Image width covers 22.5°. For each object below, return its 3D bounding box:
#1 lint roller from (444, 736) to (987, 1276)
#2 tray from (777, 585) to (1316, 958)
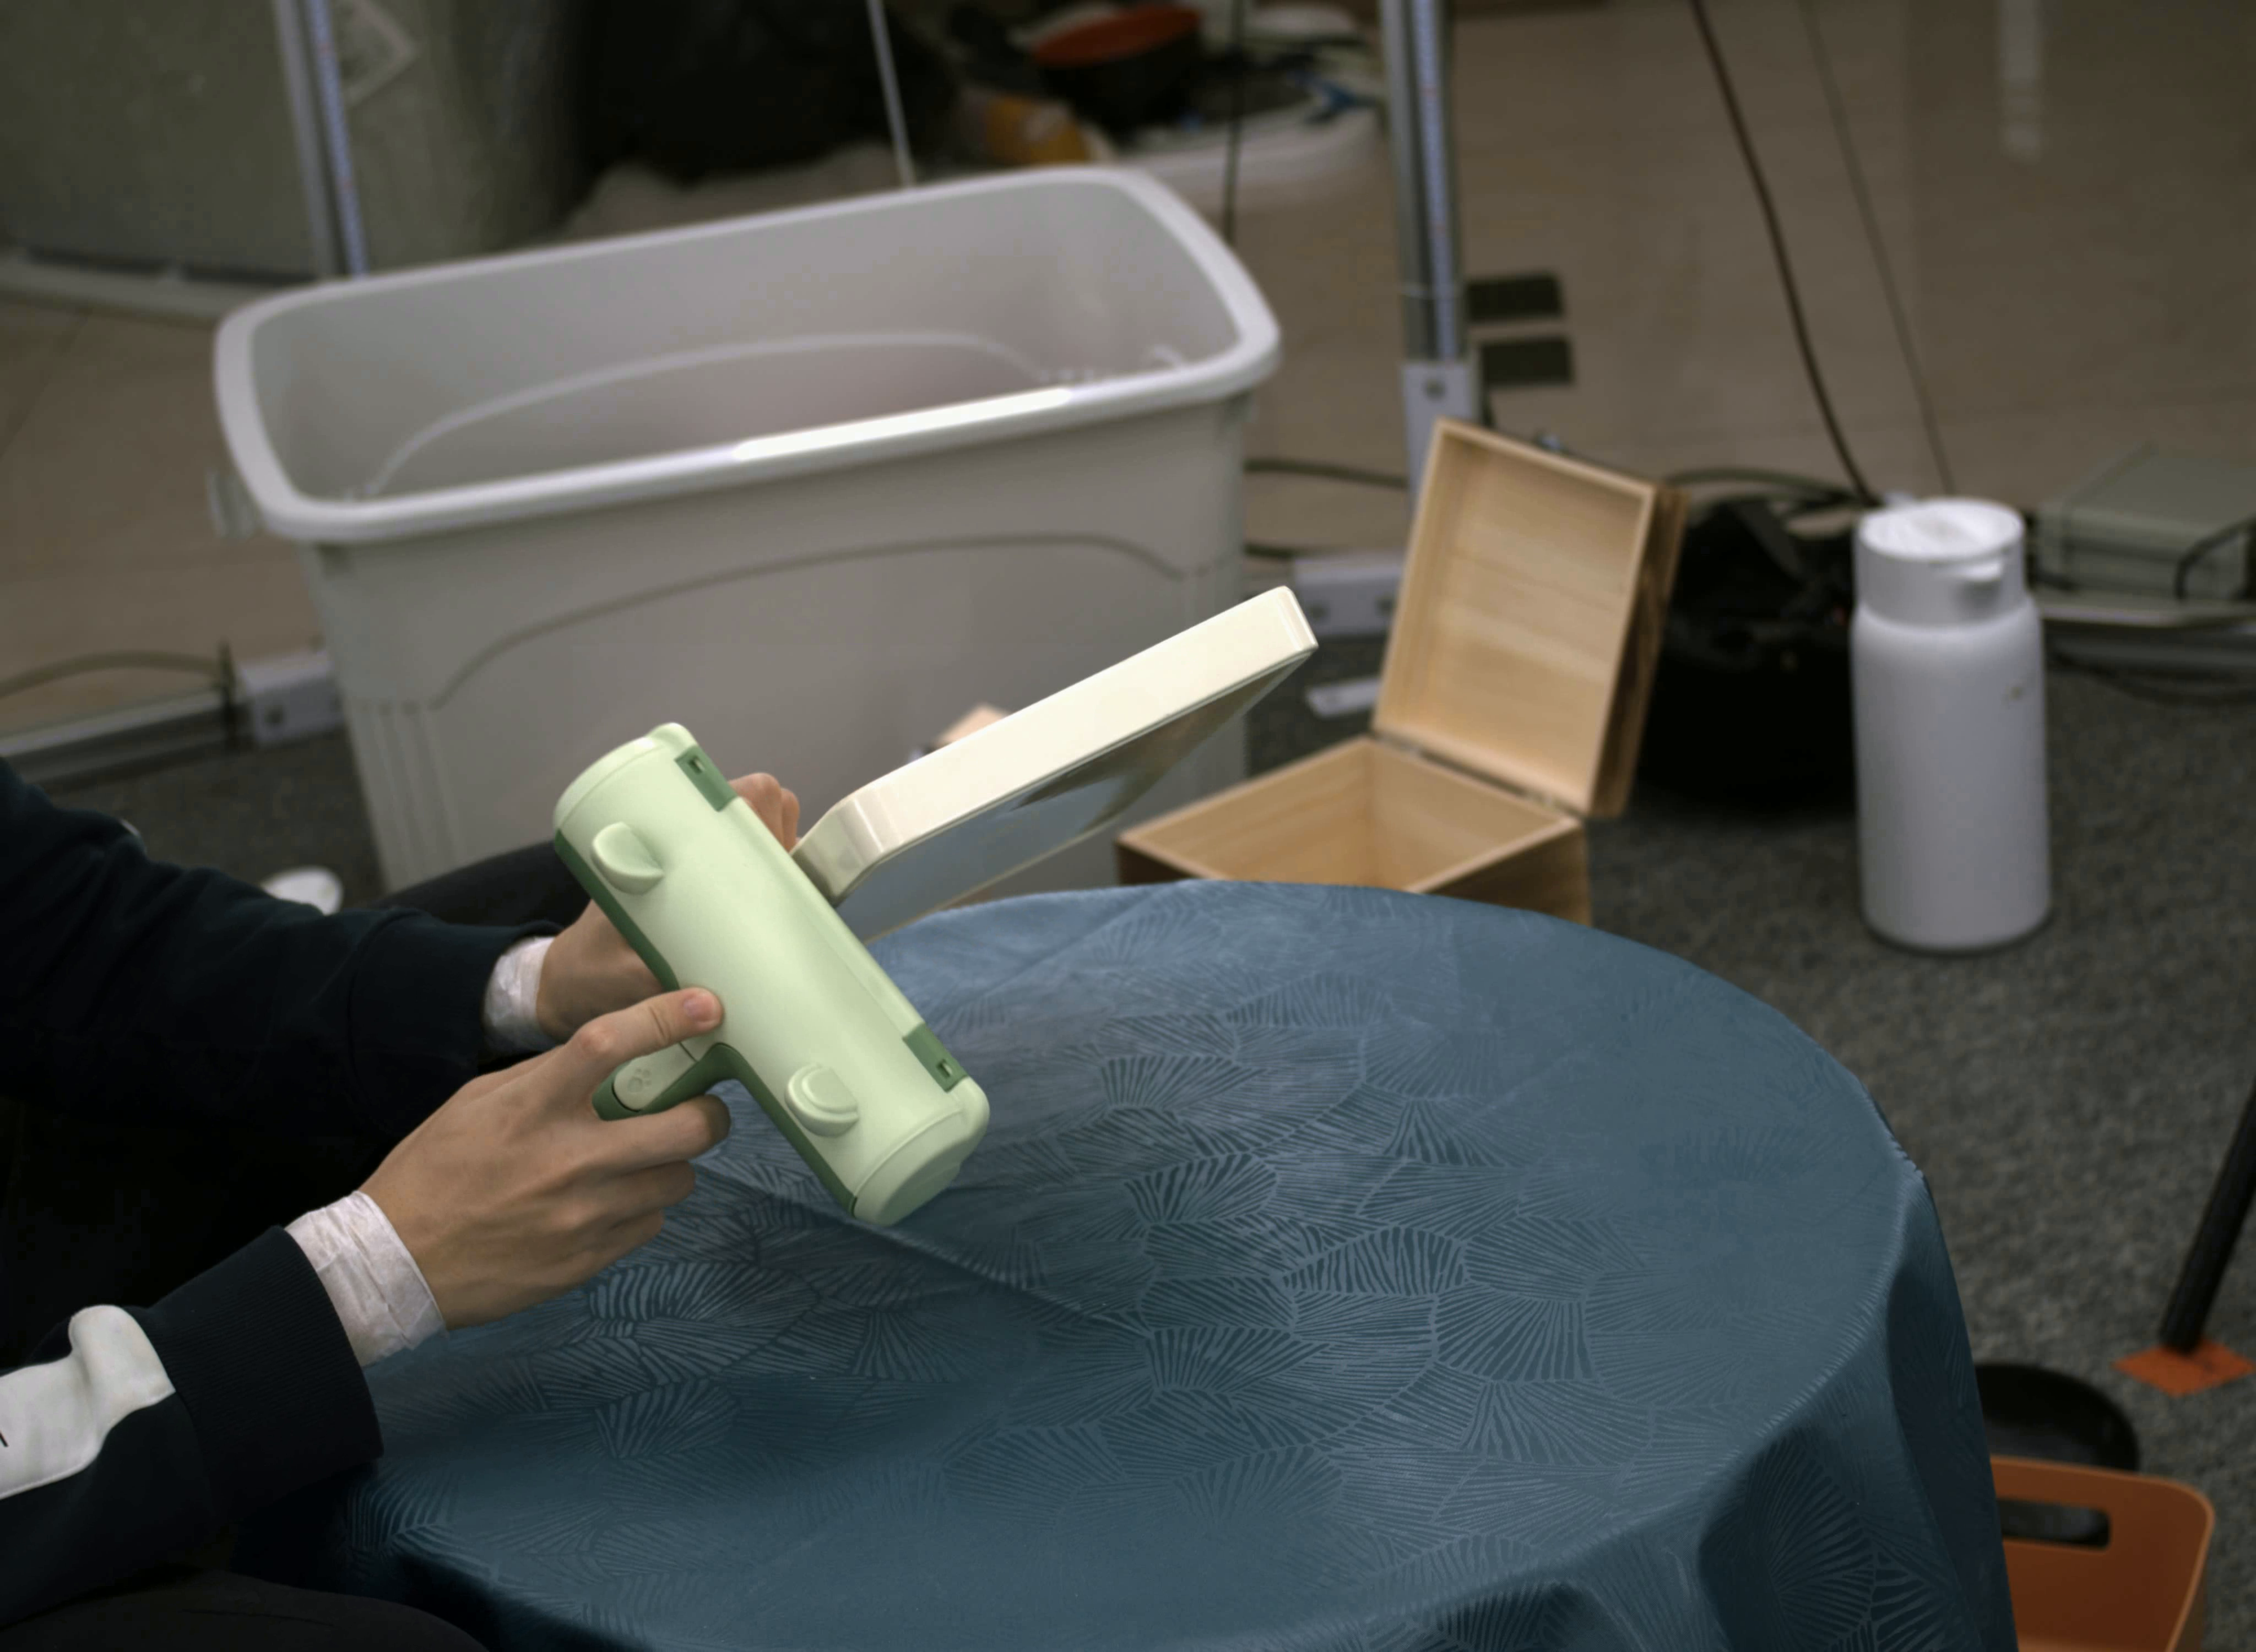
[{"bbox_3d":[-0.177,0.091,2.011,0.183,0.083,0.197,-39,74,-4],"label":"lint roller"},{"bbox_3d":[-0.050,-0.006,2.119,0.190,0.027,0.302,-27,-5,-18],"label":"tray"}]
